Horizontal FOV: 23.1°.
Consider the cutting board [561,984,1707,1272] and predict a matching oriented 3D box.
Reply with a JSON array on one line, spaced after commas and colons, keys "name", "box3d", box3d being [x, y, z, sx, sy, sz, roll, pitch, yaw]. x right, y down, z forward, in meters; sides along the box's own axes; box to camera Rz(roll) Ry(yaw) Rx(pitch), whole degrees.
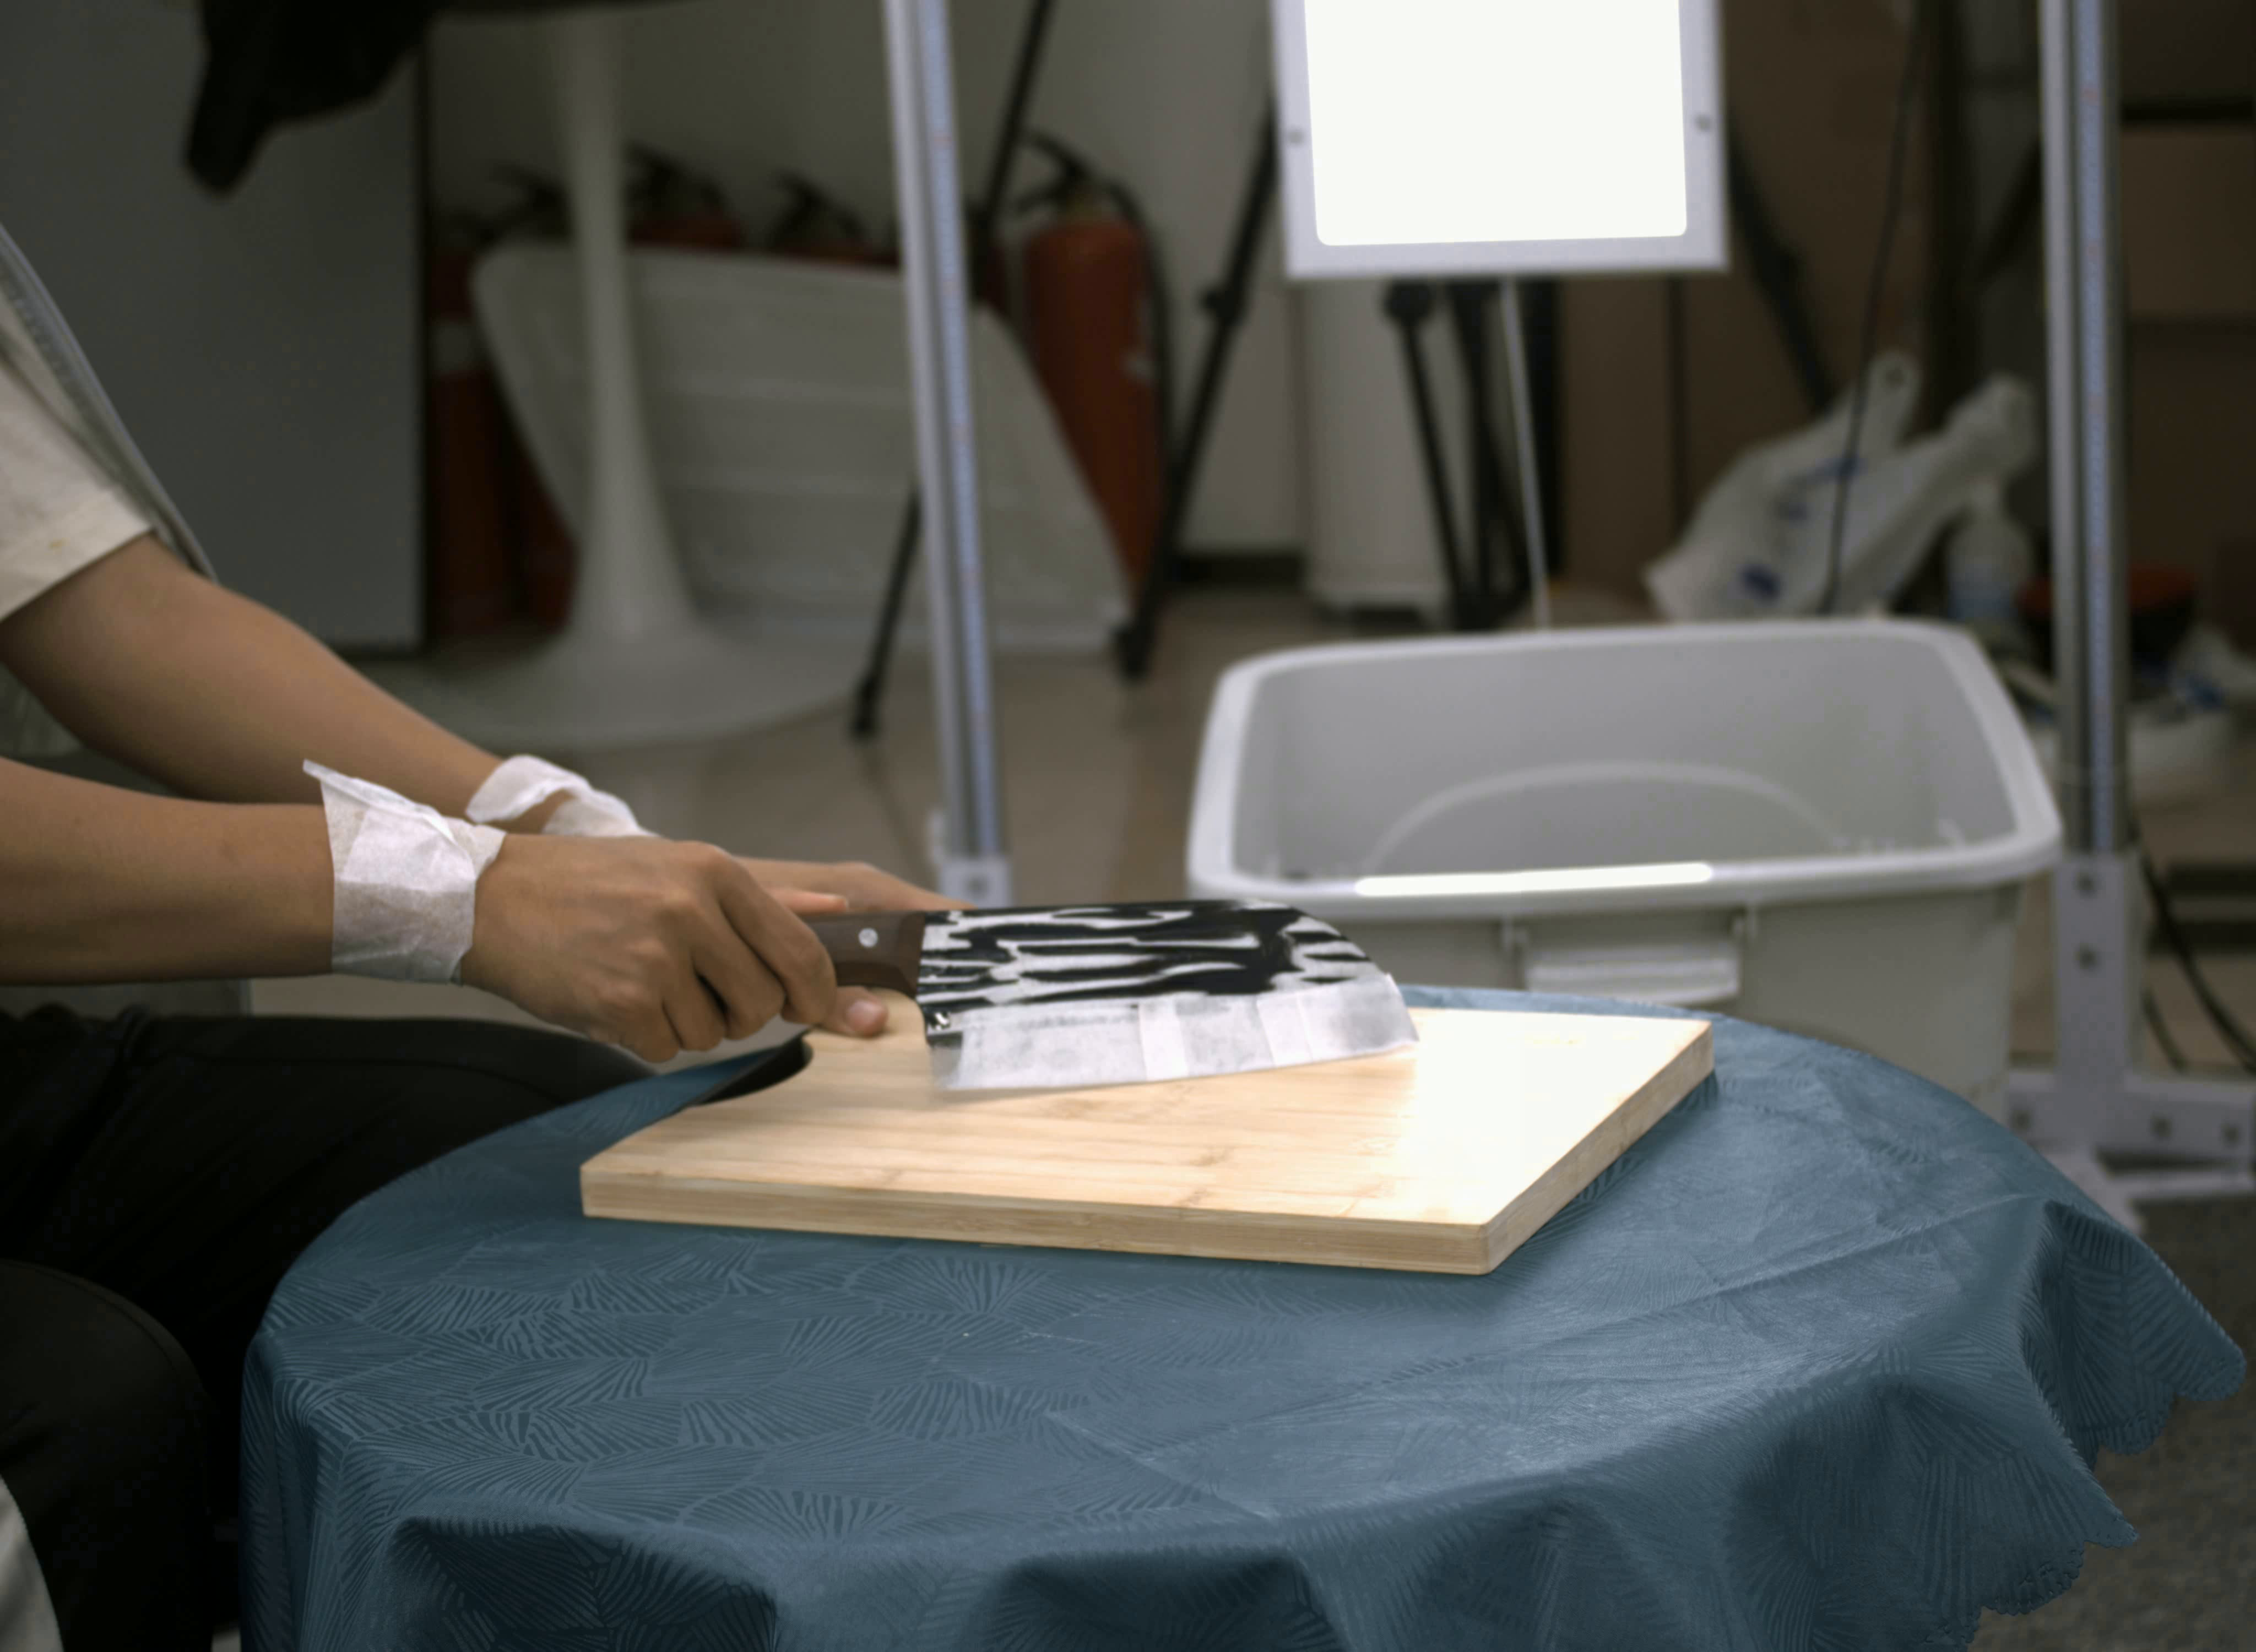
[{"name": "cutting board", "box3d": [0.006, 0.104, 1.955, 0.354, 0.023, 0.246, 1, 15, 25]}]

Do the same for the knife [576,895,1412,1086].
[{"name": "knife", "box3d": [-0.047, 0.059, 1.970, 0.297, 0.068, 0.024, -1, -17, -4]}]
